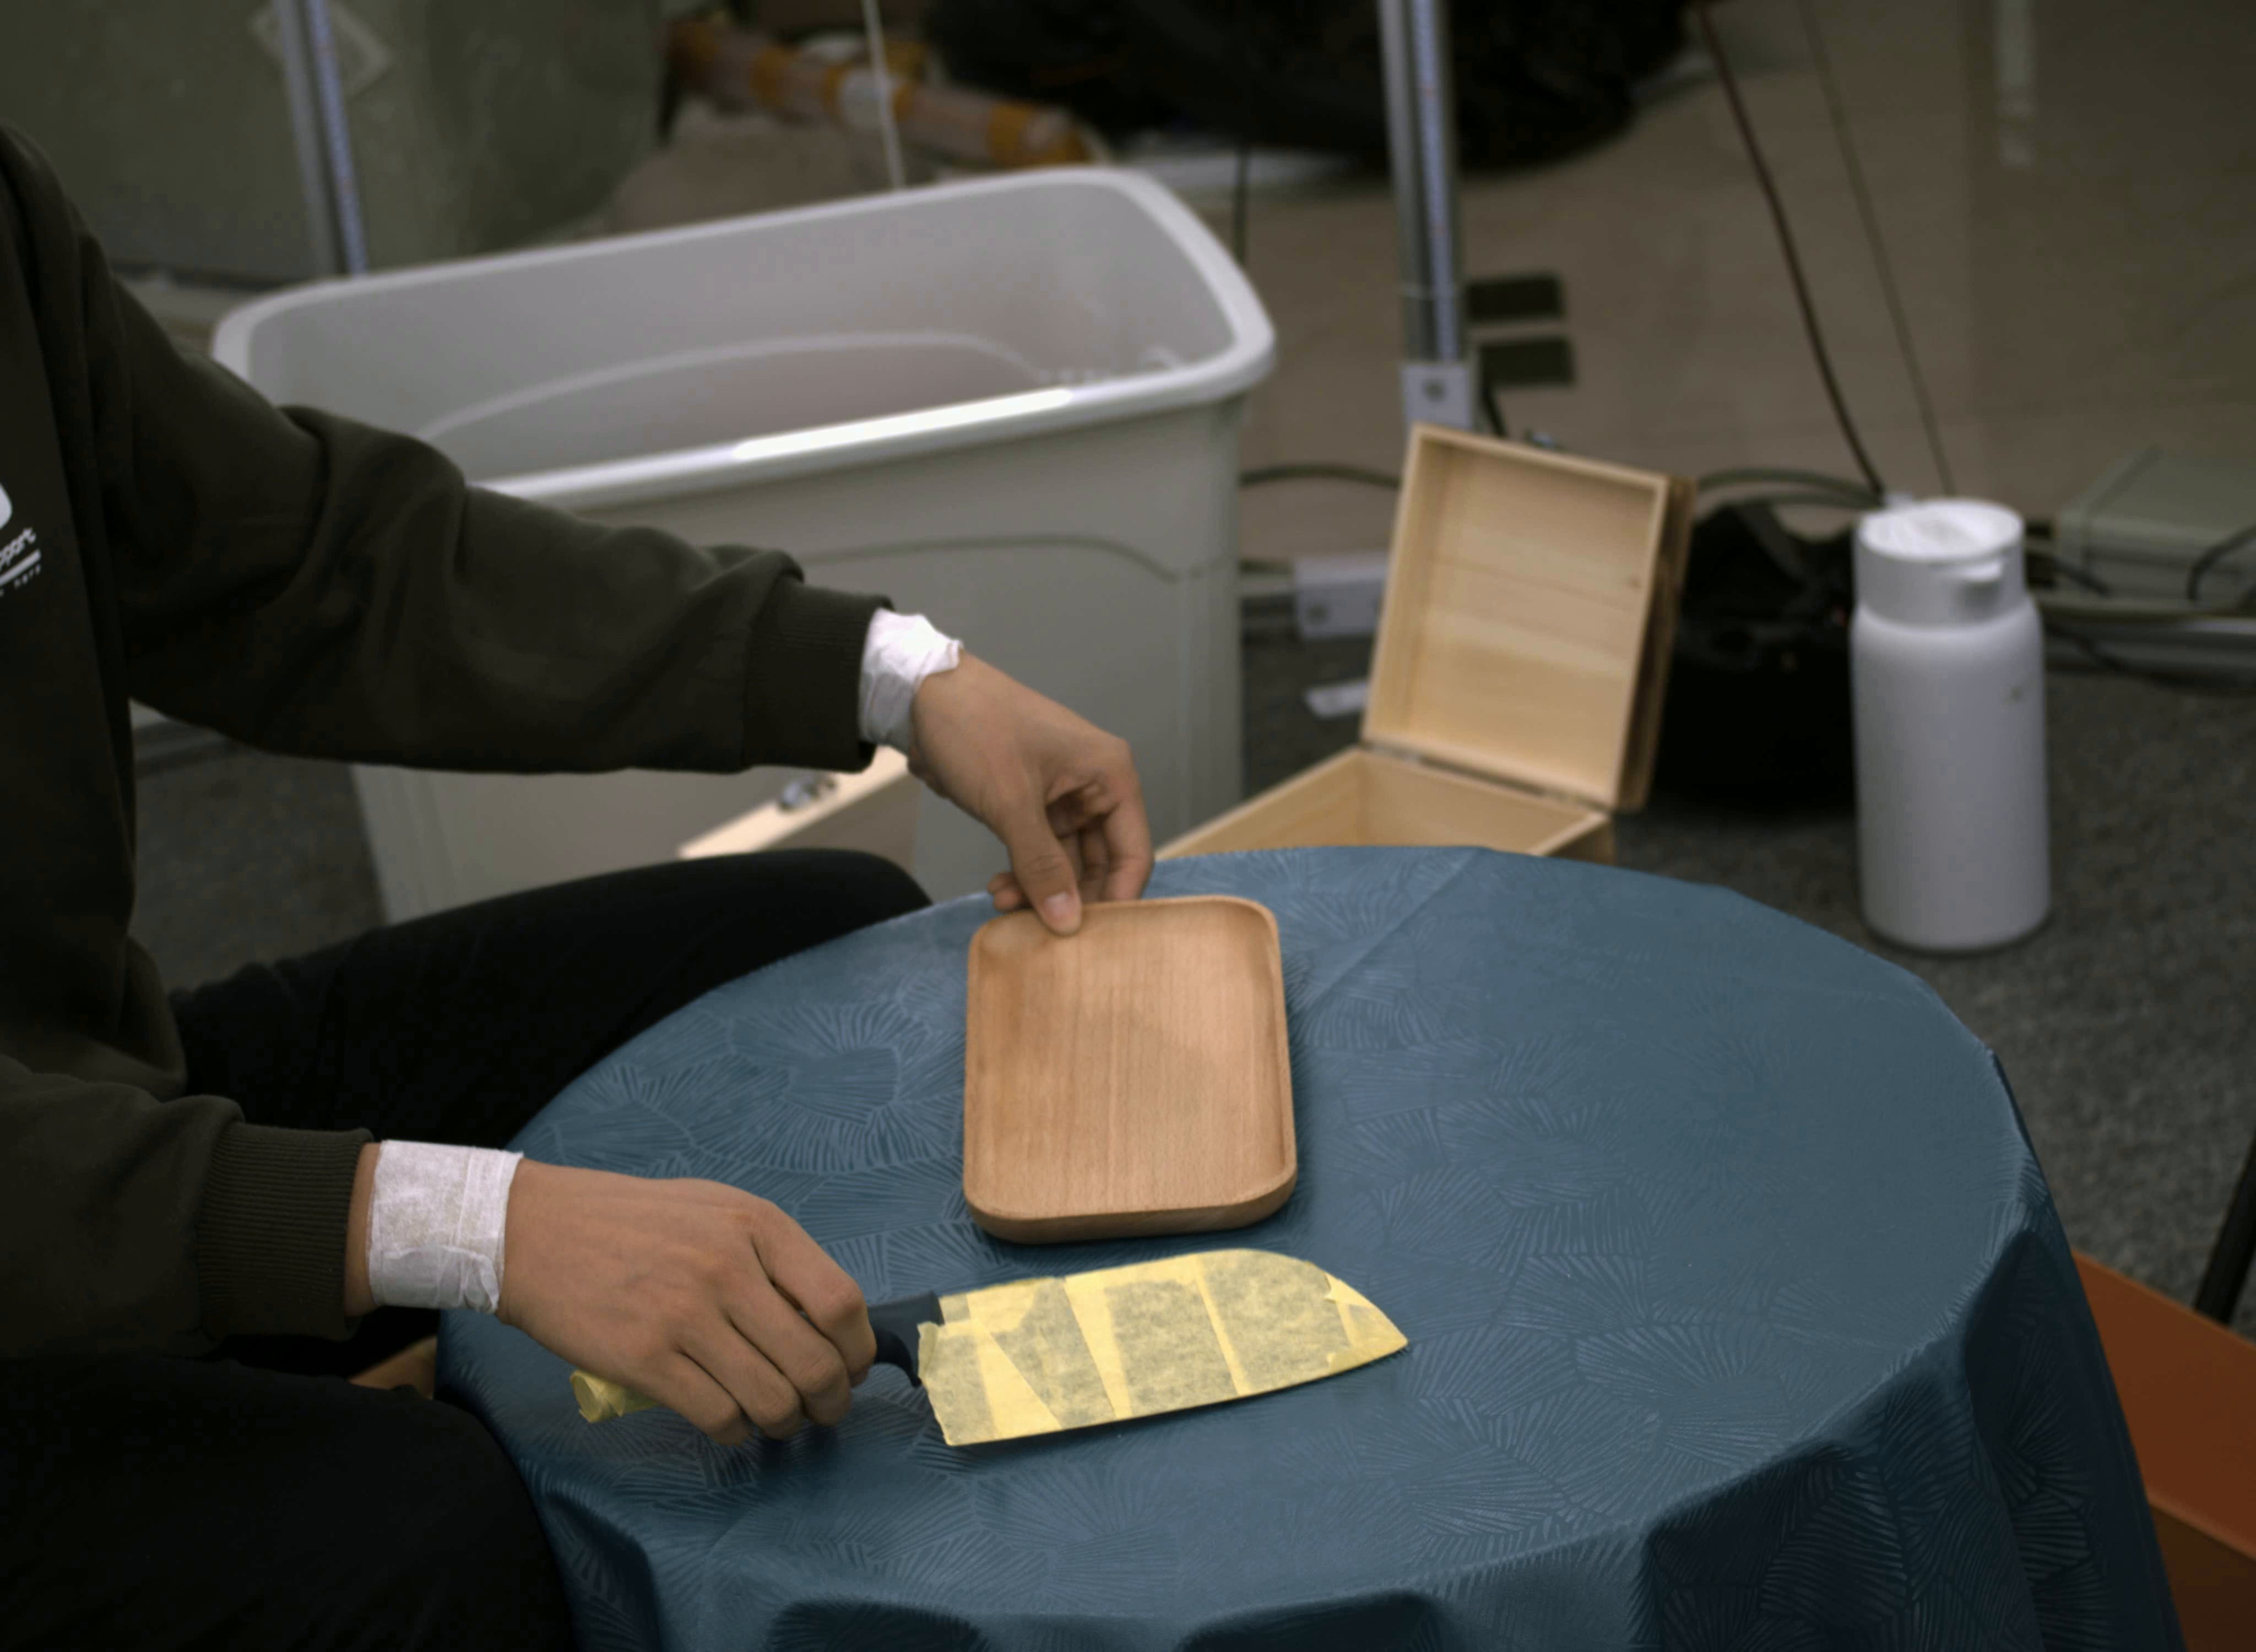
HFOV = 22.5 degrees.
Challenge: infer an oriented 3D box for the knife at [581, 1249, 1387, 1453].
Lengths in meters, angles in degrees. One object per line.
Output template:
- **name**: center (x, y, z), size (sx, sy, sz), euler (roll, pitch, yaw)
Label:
- **knife**: center (-0.049, 0.192, 2.010), size (0.289, 0.028, 0.079), euler (-8, 39, -9)

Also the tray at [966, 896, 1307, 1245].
- **tray**: center (0.002, 0.093, 2.217), size (0.130, 0.023, 0.247), euler (-6, 28, 3)
